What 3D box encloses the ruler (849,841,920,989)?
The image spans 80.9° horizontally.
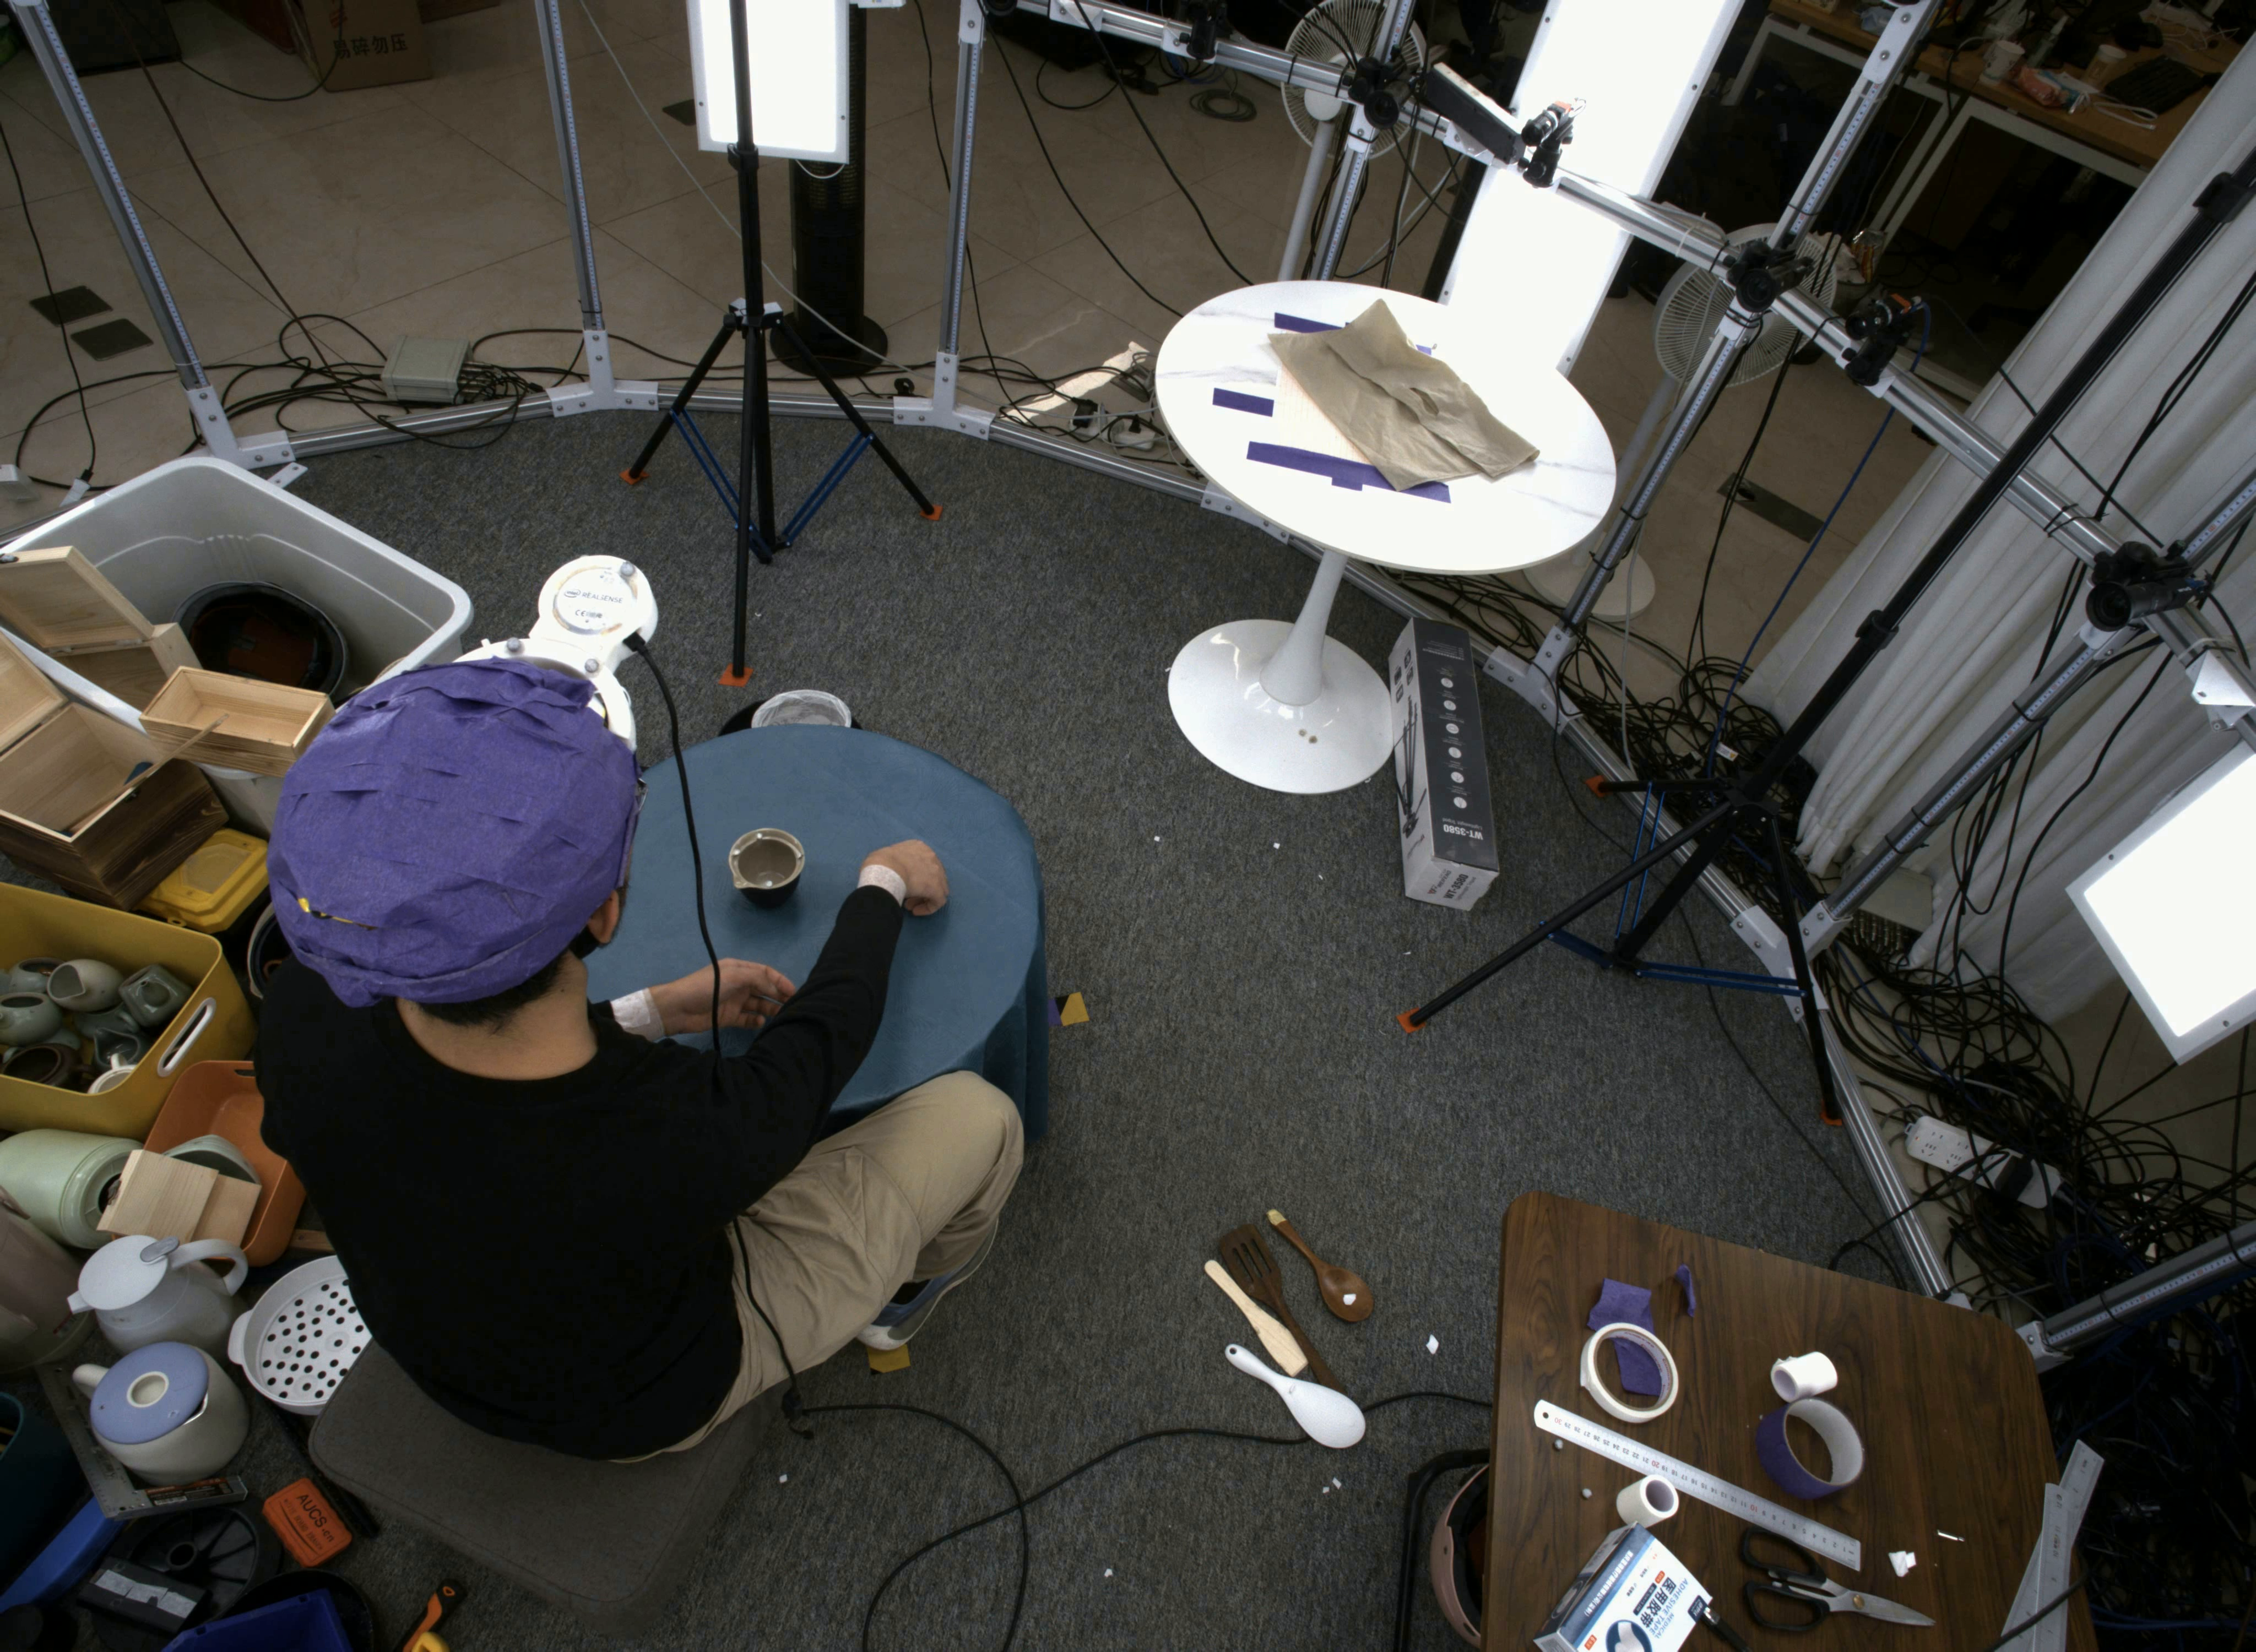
[{"bbox_3d":[-0.309,0.105,1.651,0.038,0.024,0.215,19,55,-8],"label":"ruler"}]

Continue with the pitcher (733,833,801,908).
[{"bbox_3d":[-0.454,0.062,1.617,0.082,0.073,0.096,32,52,11],"label":"pitcher"}]
